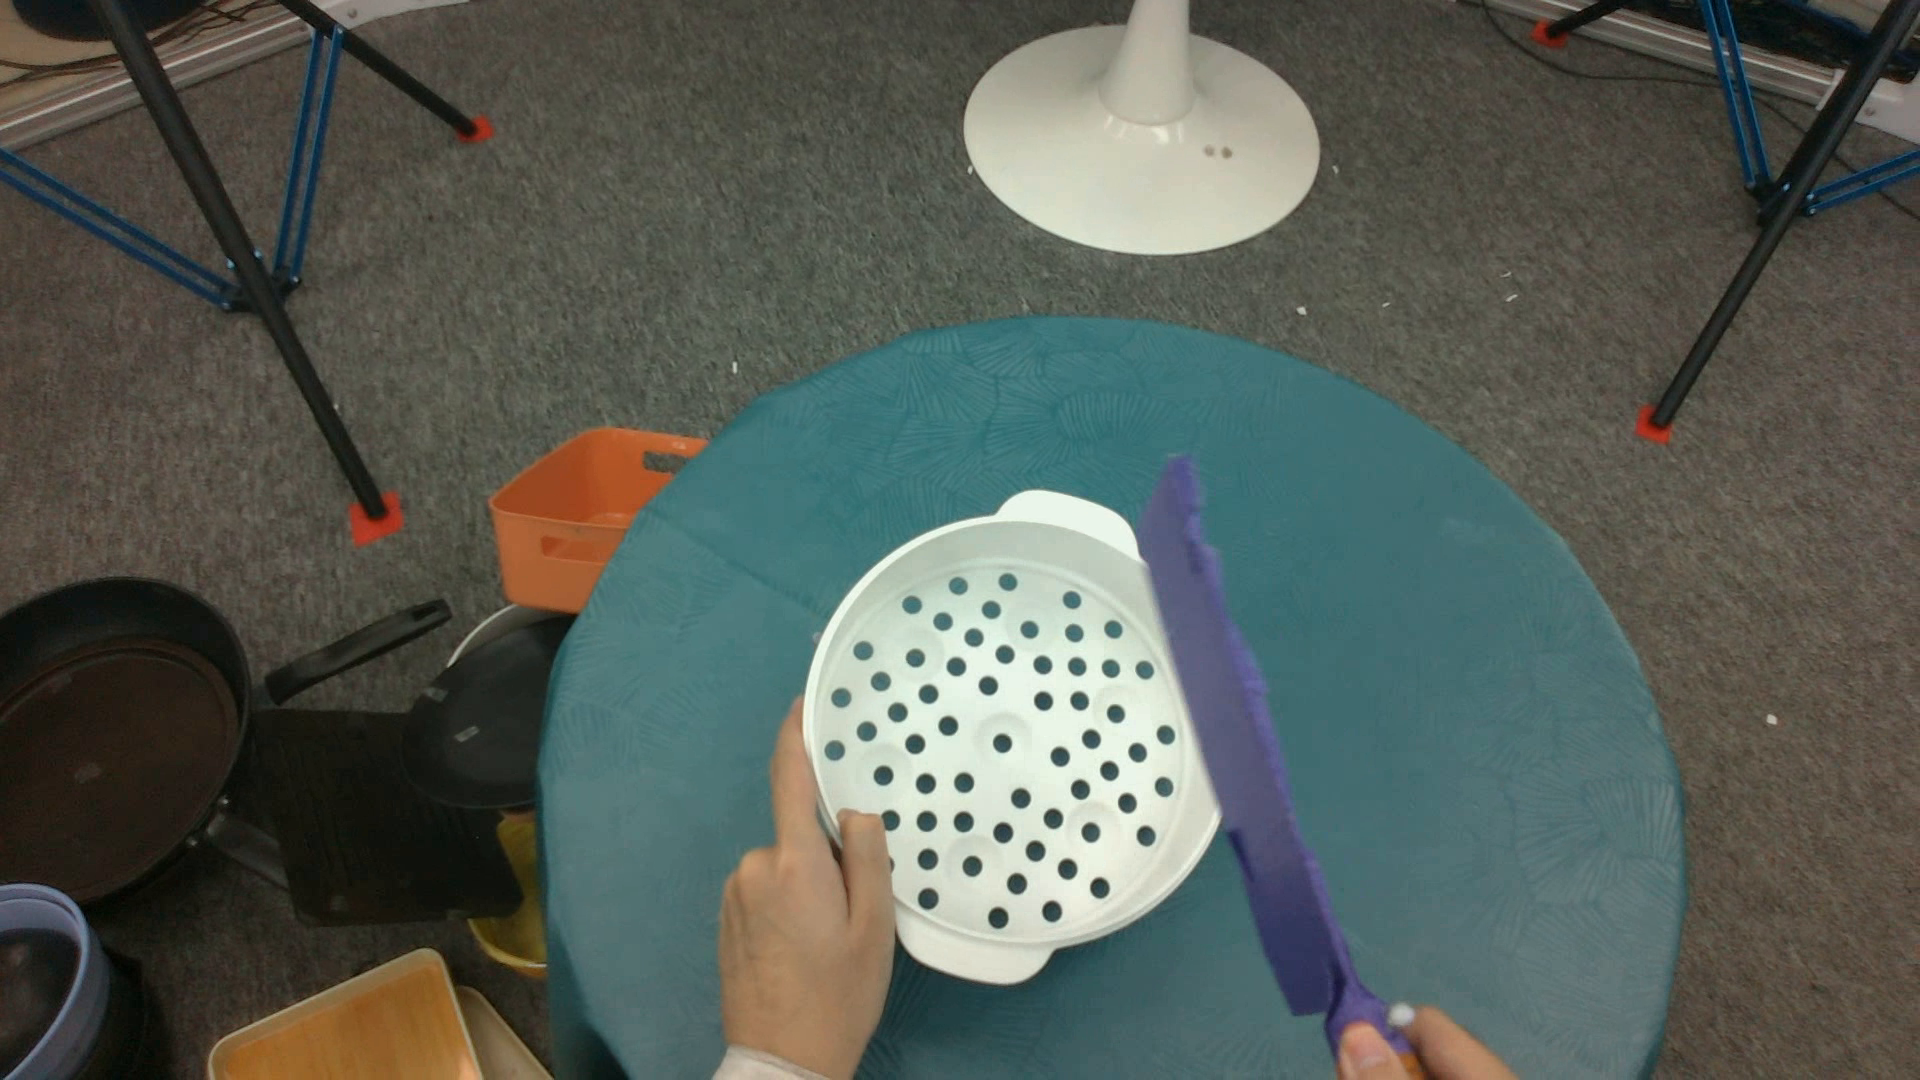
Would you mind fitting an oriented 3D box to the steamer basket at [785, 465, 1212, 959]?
[{"bbox_3d":[0.018,0.081,0.661,0.202,0.069,0.231,16,72,-3],"label":"steamer basket"}]

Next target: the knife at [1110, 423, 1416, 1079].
[{"bbox_3d":[0.115,0.113,0.511,0.032,0.103,0.316,-13,71,-6],"label":"knife"}]
